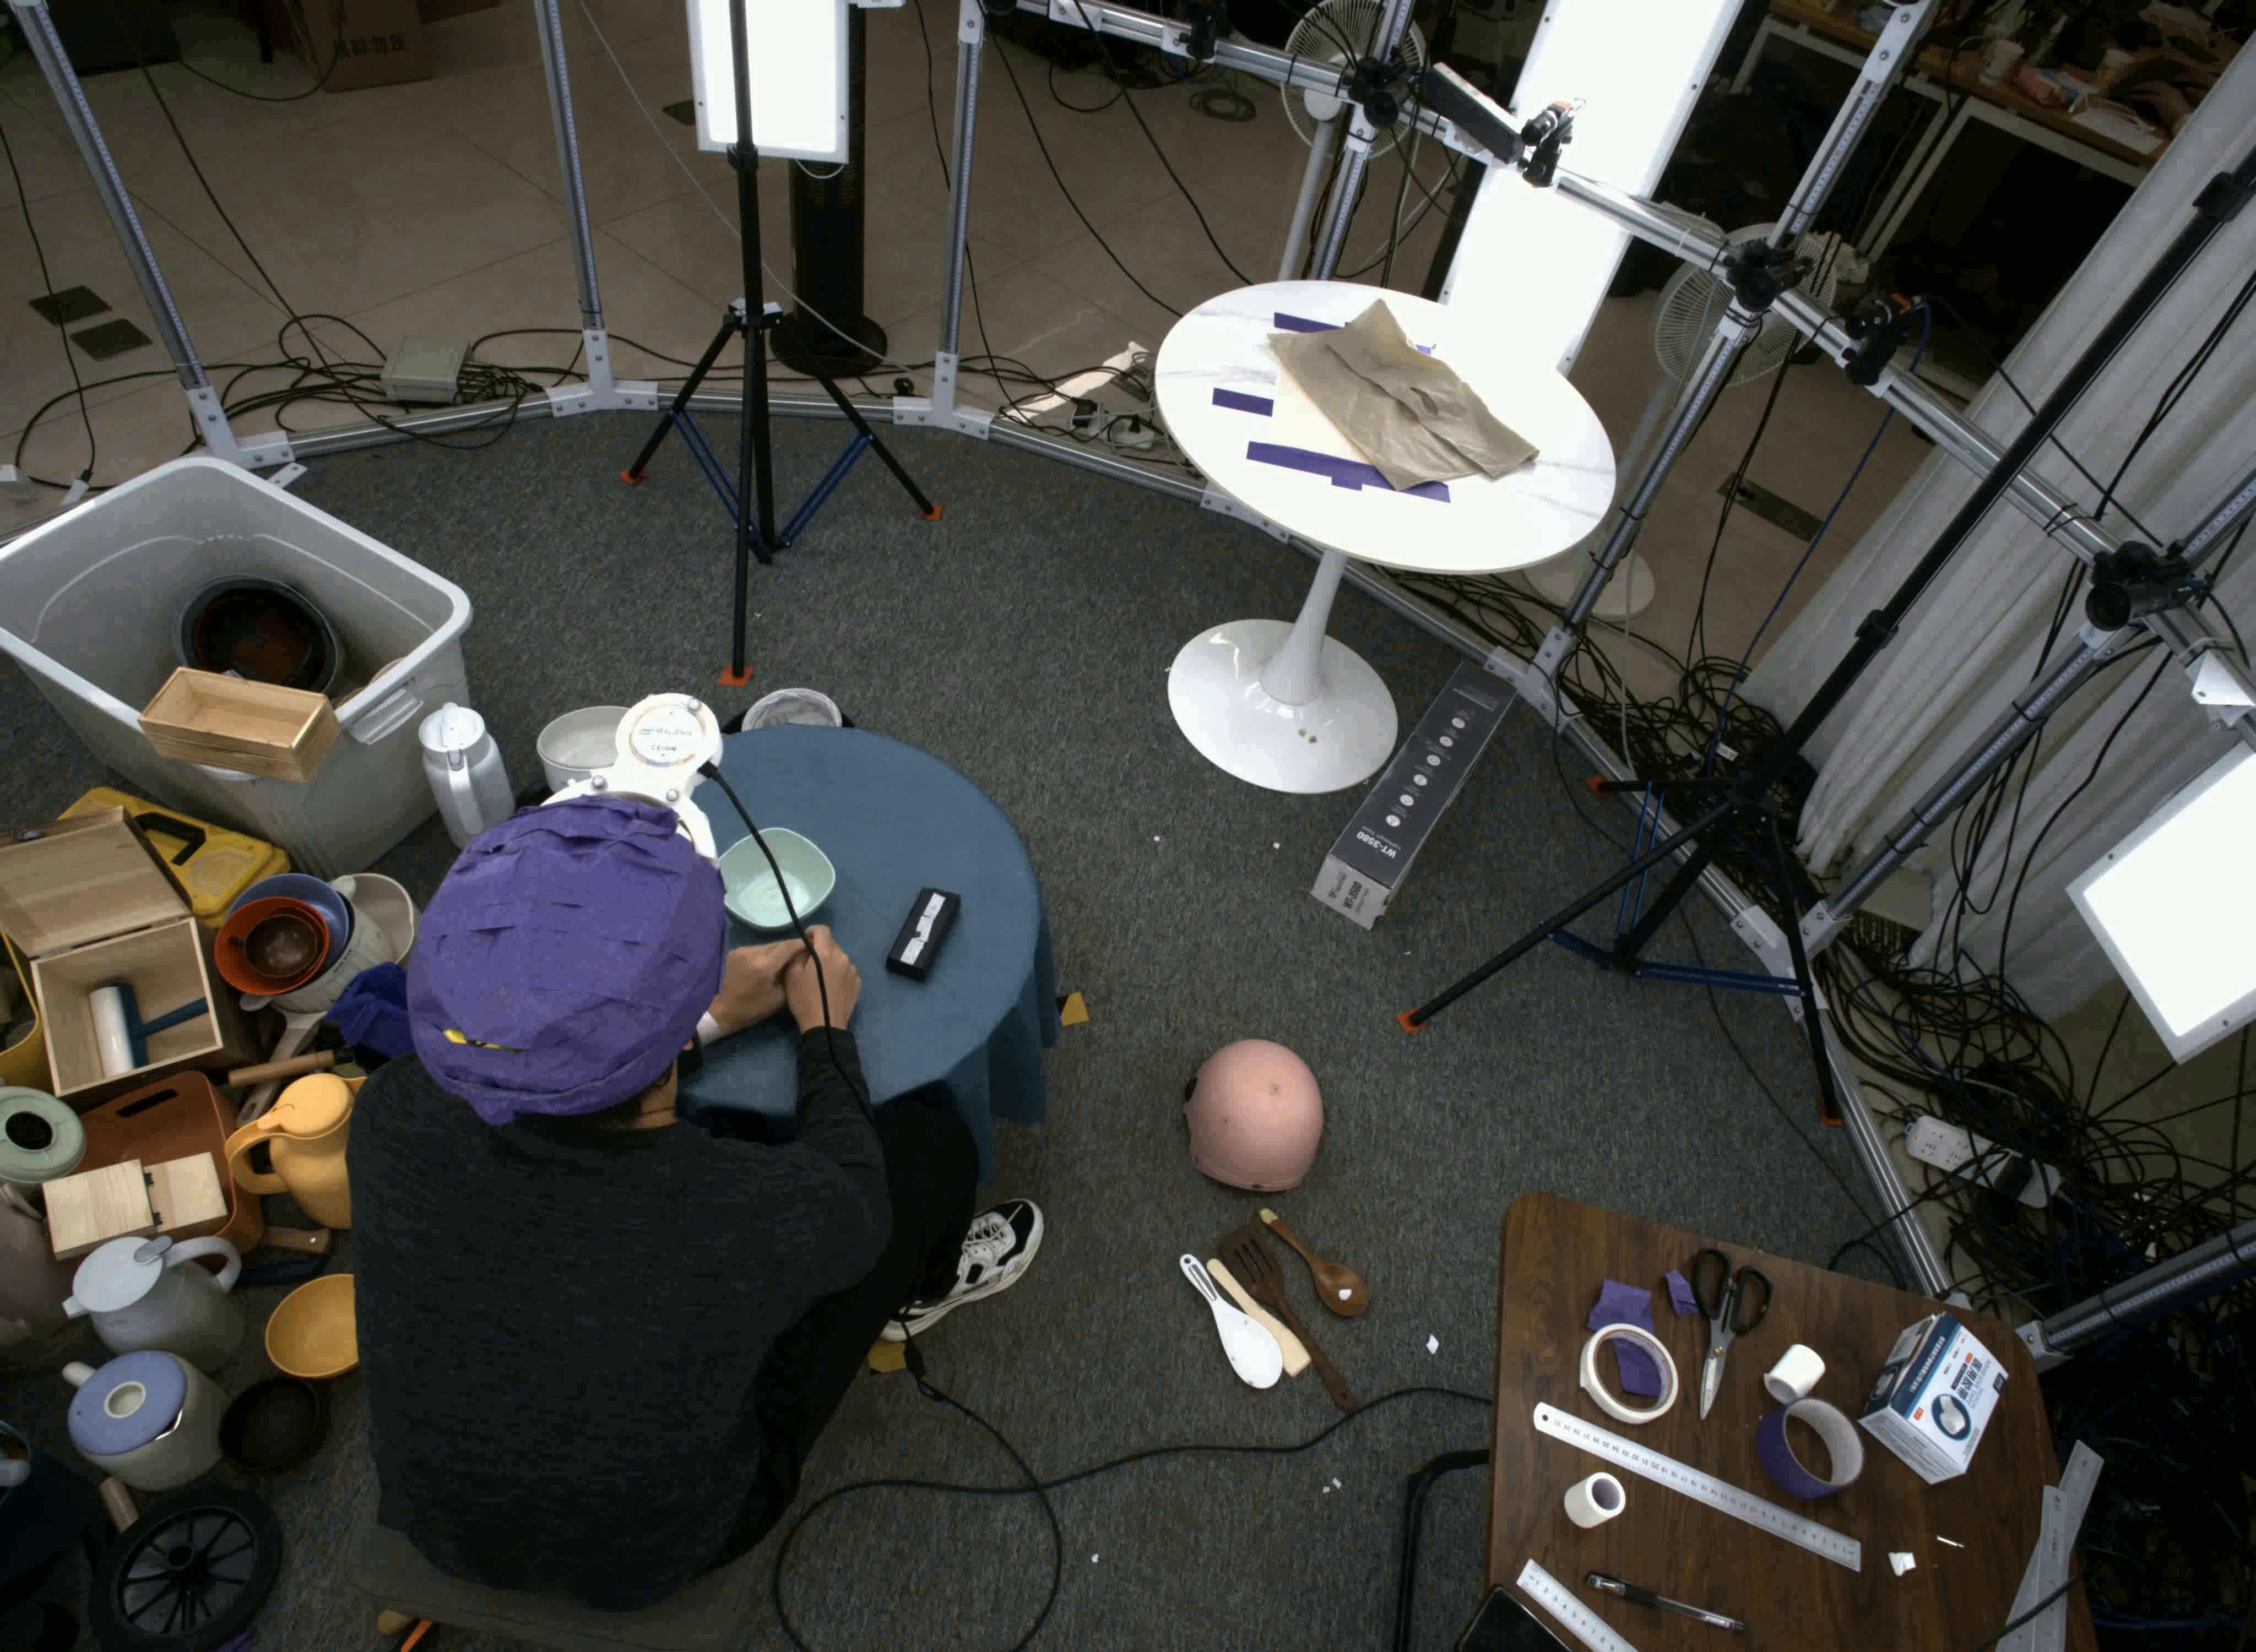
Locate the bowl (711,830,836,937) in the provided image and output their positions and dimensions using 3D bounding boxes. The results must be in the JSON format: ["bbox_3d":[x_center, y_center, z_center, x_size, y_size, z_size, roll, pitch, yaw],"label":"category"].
[{"bbox_3d":[-0.441,0.080,1.619,0.151,0.060,0.148,7,51,-7],"label":"bowl"}]

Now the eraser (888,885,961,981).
[{"bbox_3d":[-0.256,0.132,1.646,0.053,0.031,0.124,17,52,3],"label":"eraser"}]
